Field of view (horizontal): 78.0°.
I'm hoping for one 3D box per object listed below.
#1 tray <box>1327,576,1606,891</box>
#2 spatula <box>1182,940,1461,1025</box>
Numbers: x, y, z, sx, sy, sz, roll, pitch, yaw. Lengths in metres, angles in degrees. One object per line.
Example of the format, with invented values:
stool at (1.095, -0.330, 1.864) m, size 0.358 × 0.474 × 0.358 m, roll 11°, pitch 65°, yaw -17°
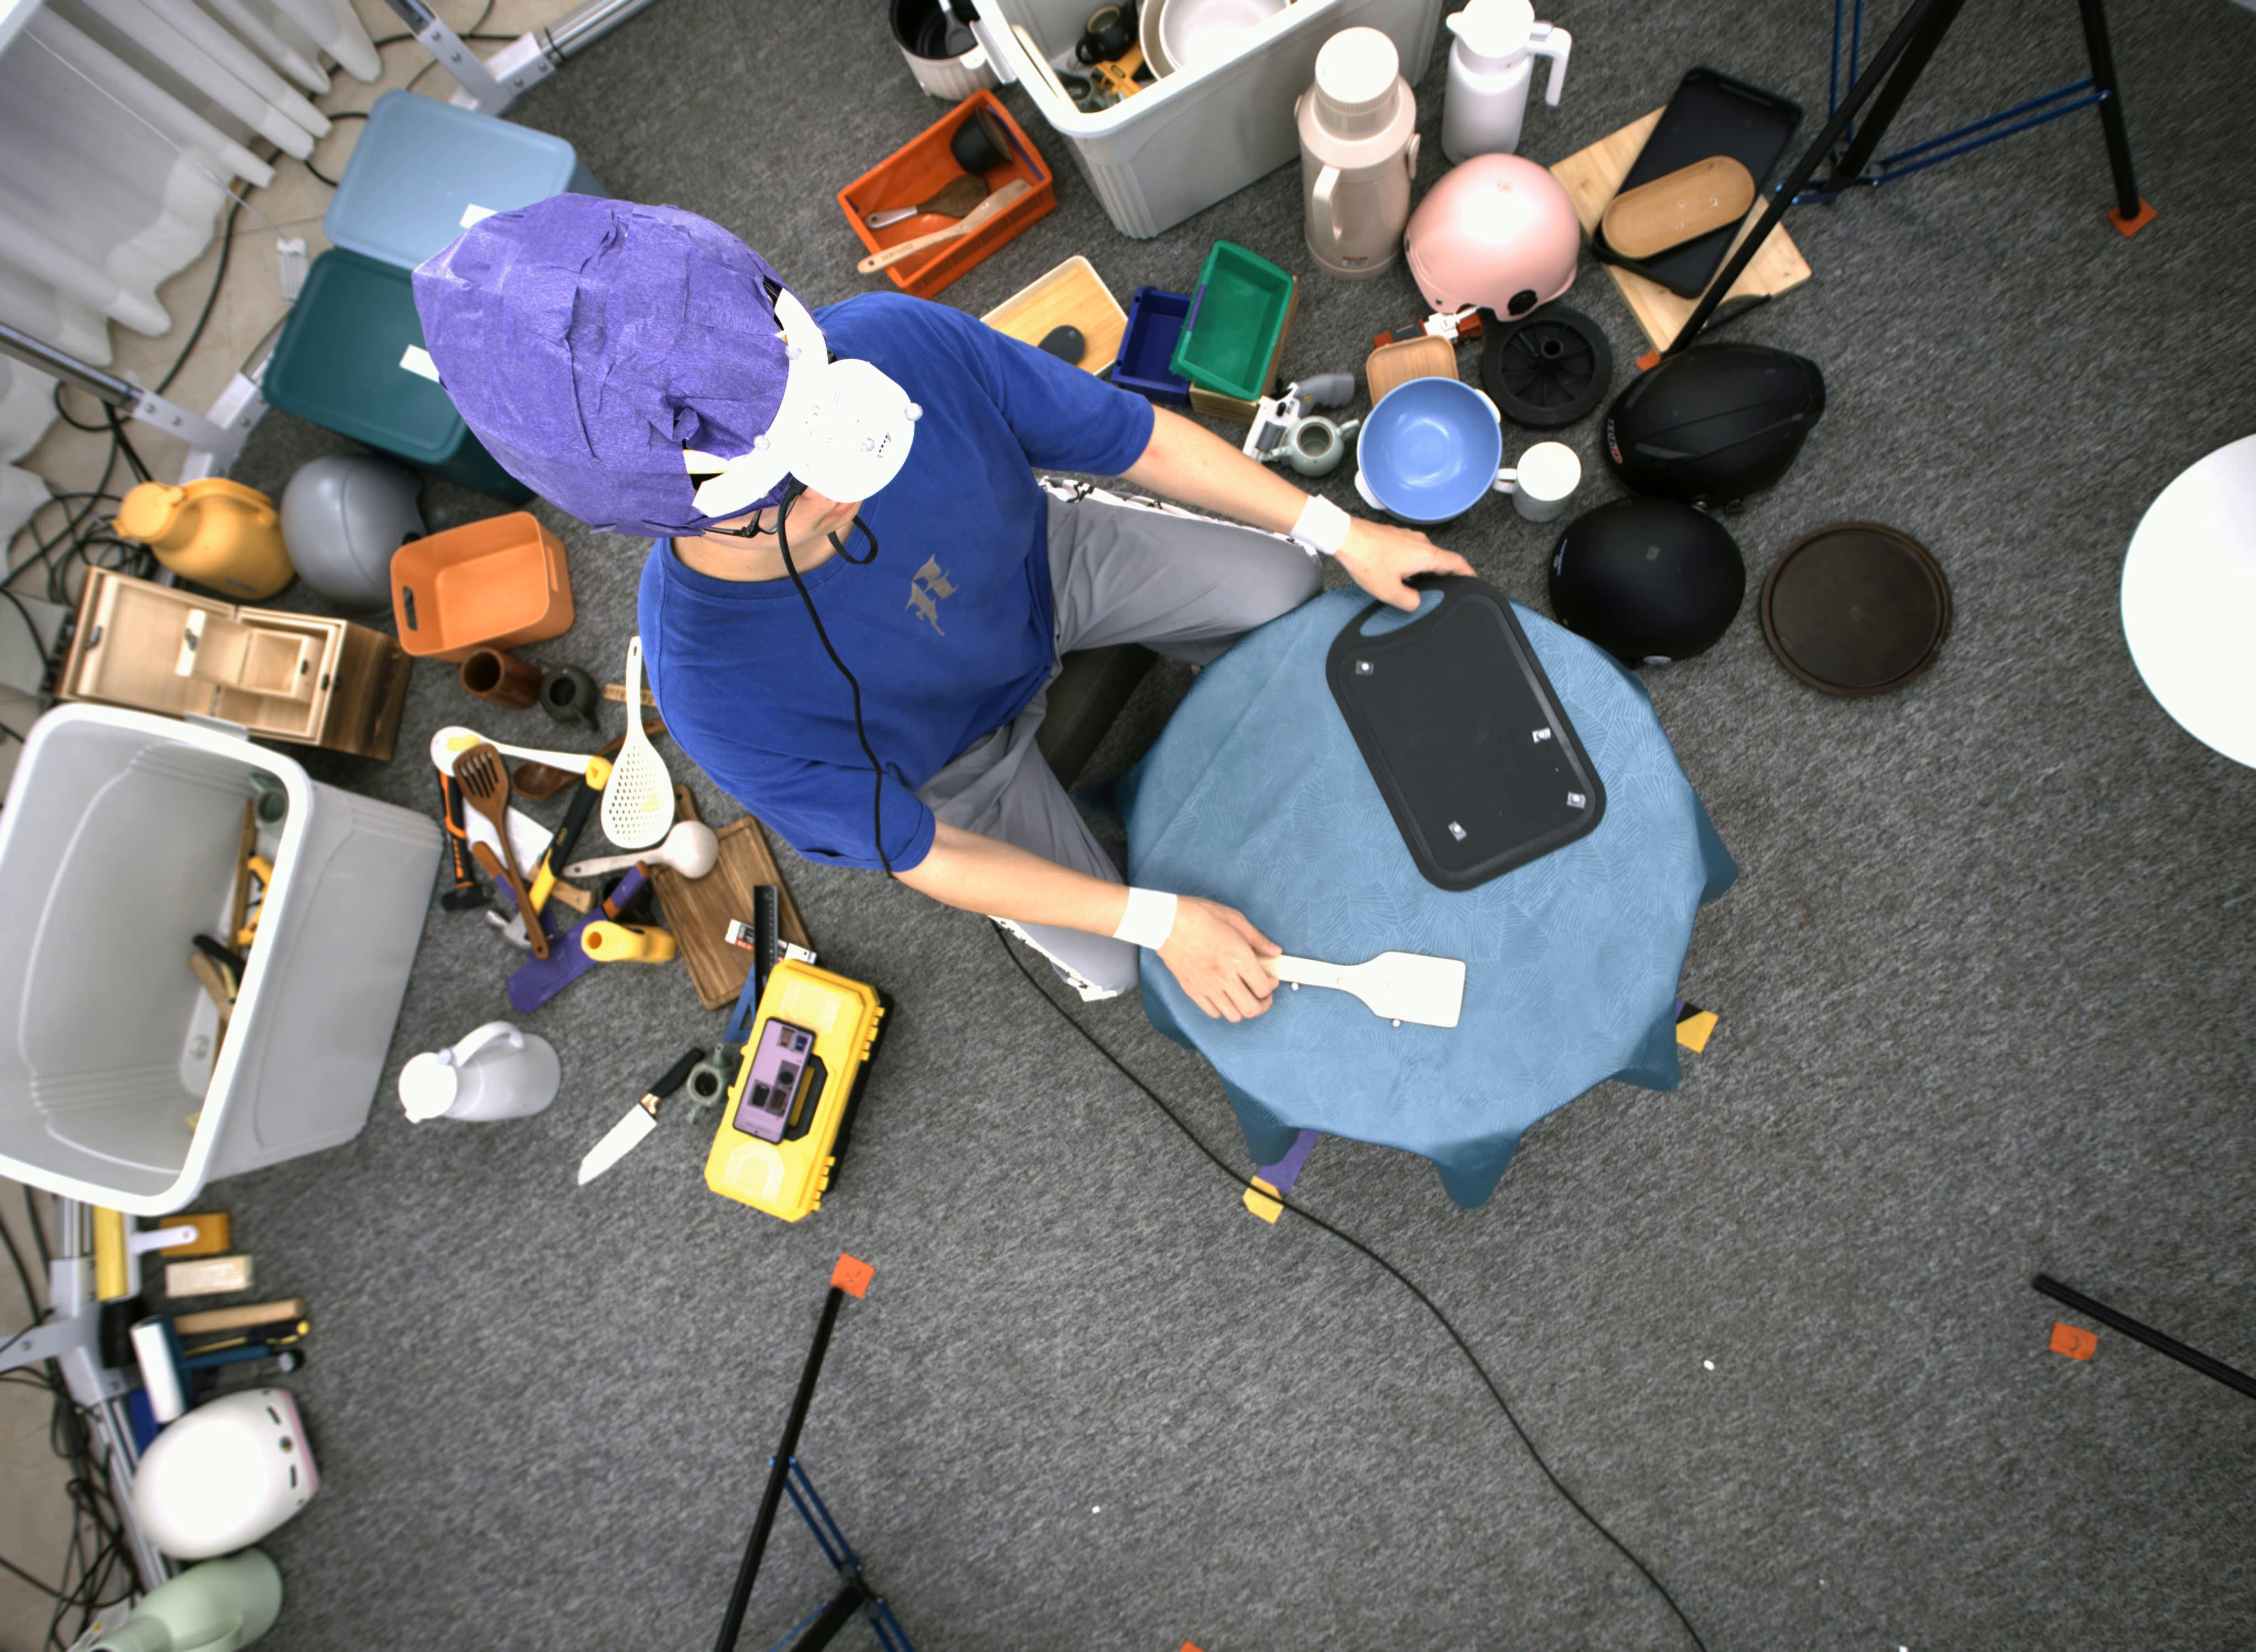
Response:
tray at (0.351, -0.107, 1.449) m, size 0.212 × 0.010 × 0.323 m, roll -25°, pitch 83°, yaw 8°
spatula at (0.201, 0.154, 1.461) m, size 0.294 × 0.010 × 0.072 m, roll 7°, pitch 89°, yaw 9°
